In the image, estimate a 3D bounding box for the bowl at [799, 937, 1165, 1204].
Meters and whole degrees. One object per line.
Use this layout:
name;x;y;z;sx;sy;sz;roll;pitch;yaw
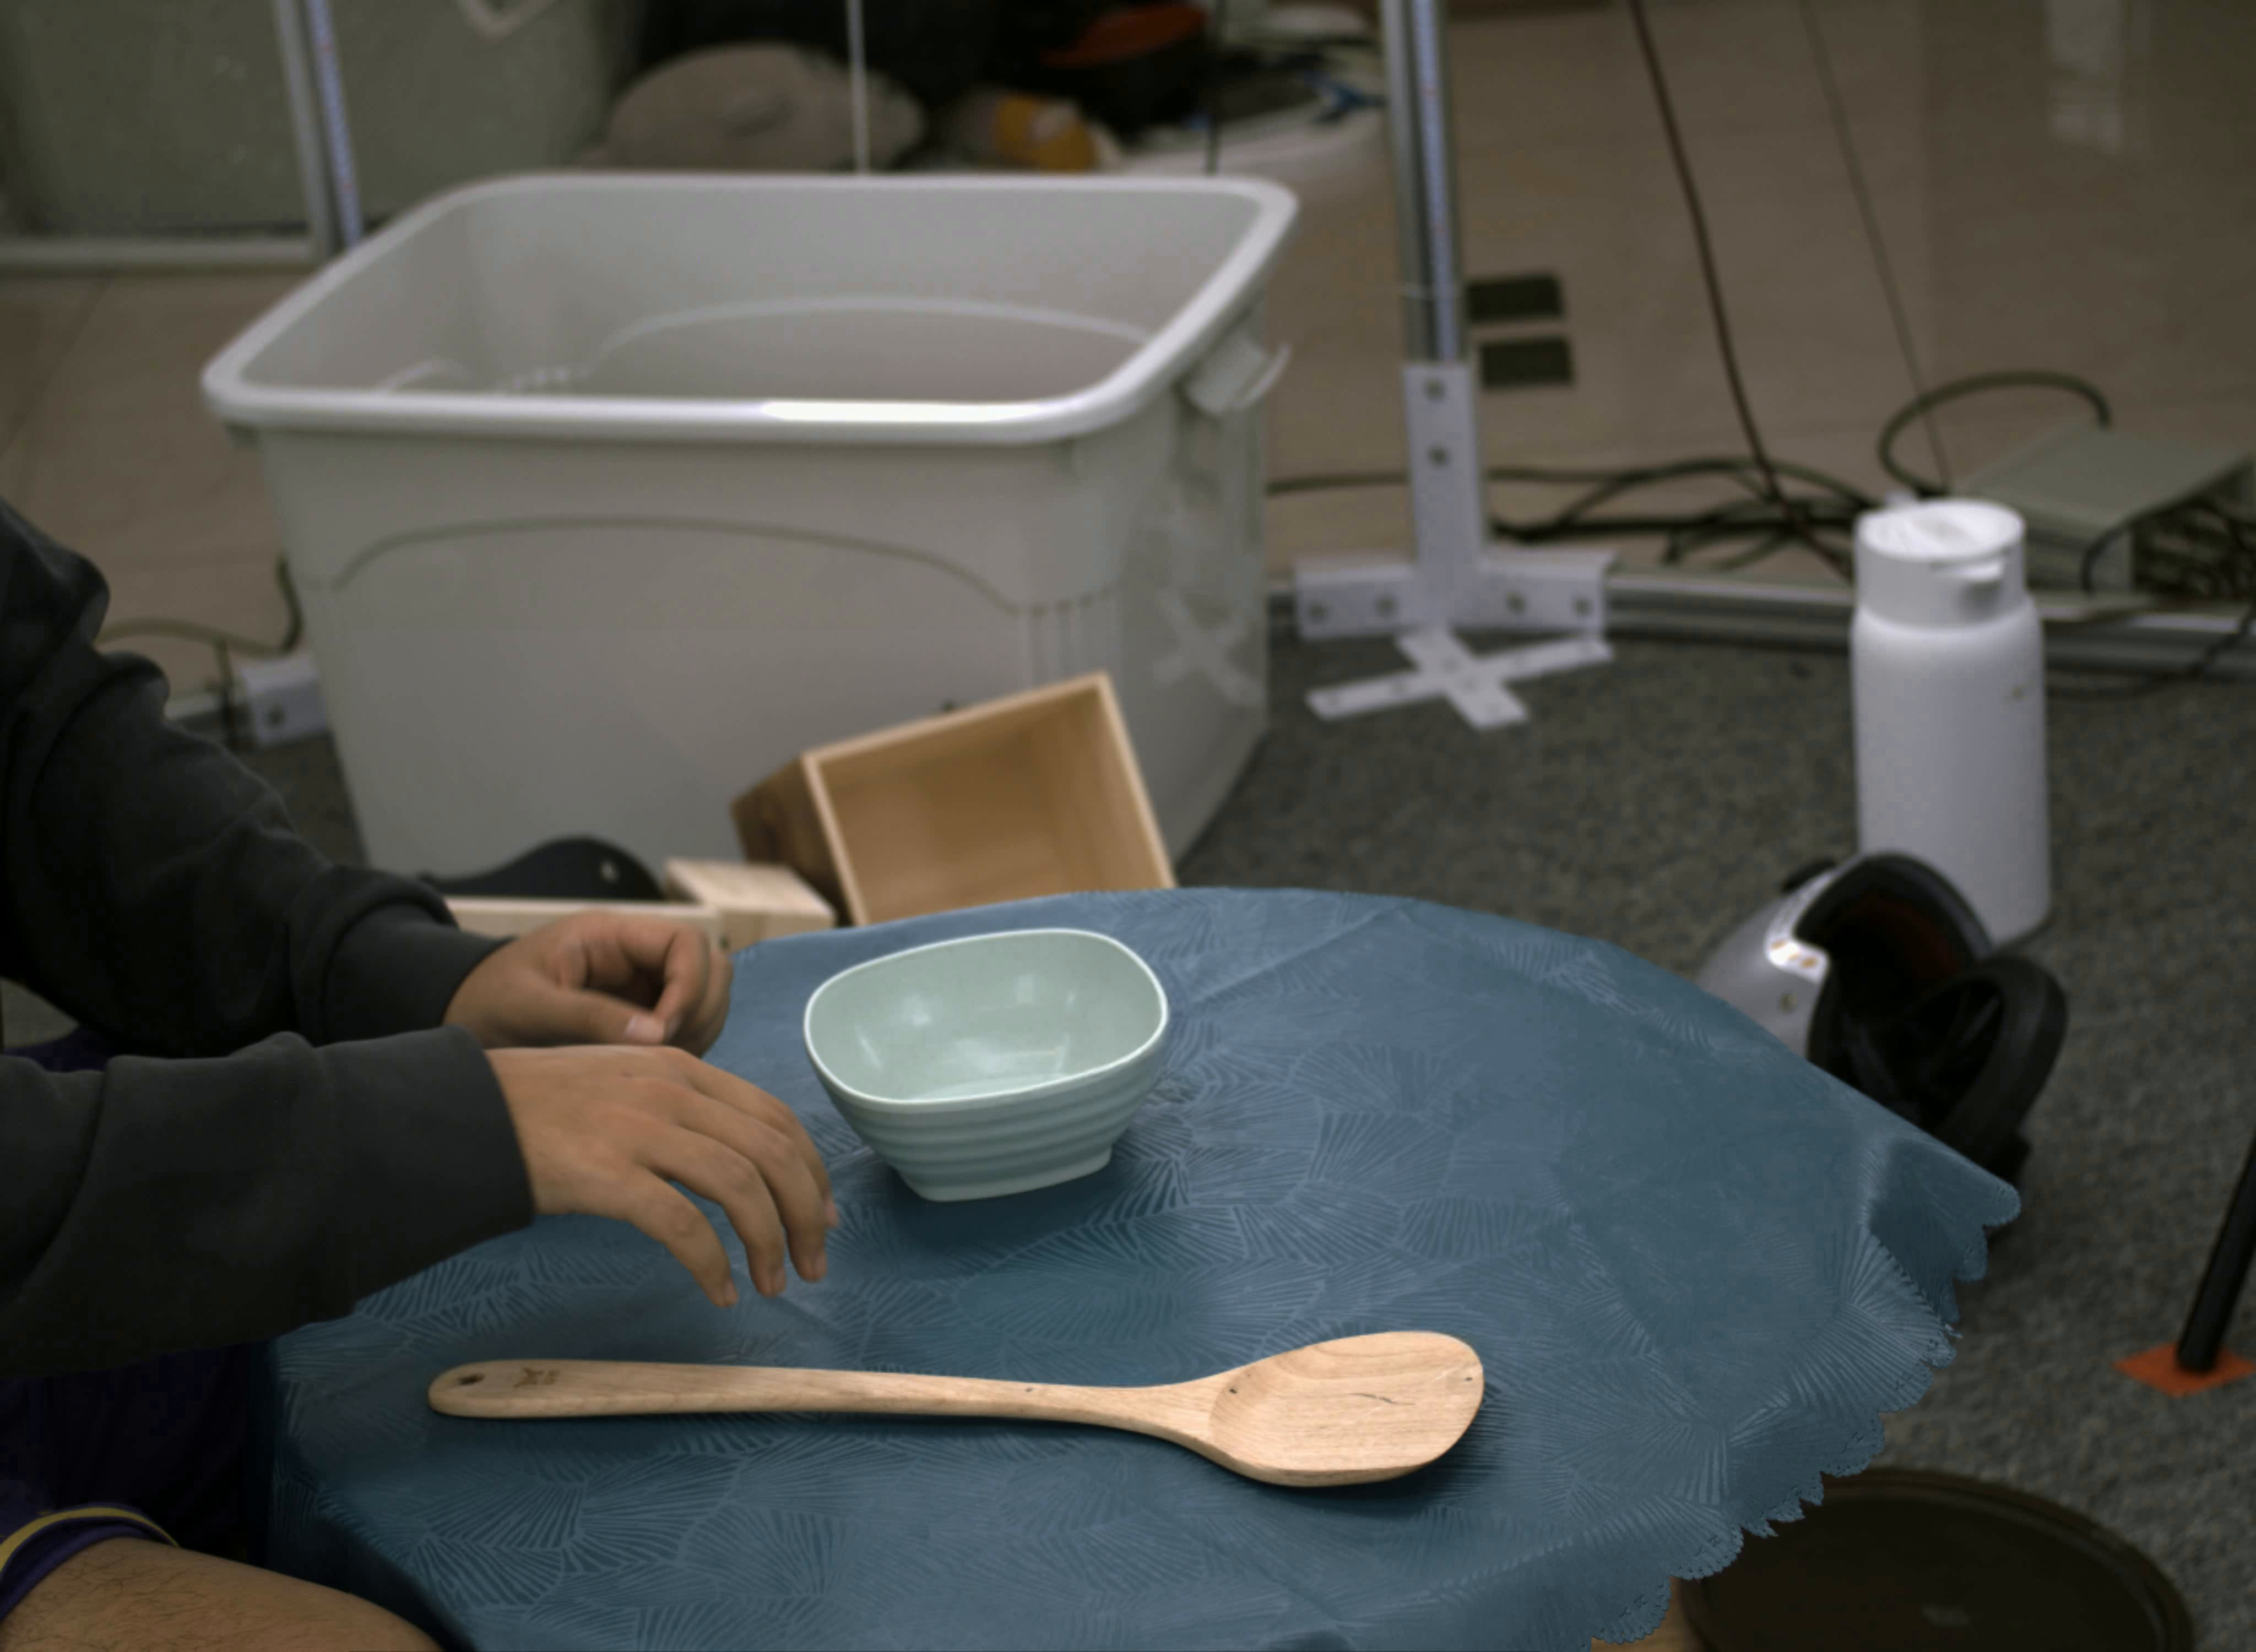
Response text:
bowl;-0.054;0.099;2.181;0.151;0.059;0.149;-4;25;2

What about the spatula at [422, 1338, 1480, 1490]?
spatula;-0.068;0.204;2.003;0.390;0.019;0.094;1;24;15
